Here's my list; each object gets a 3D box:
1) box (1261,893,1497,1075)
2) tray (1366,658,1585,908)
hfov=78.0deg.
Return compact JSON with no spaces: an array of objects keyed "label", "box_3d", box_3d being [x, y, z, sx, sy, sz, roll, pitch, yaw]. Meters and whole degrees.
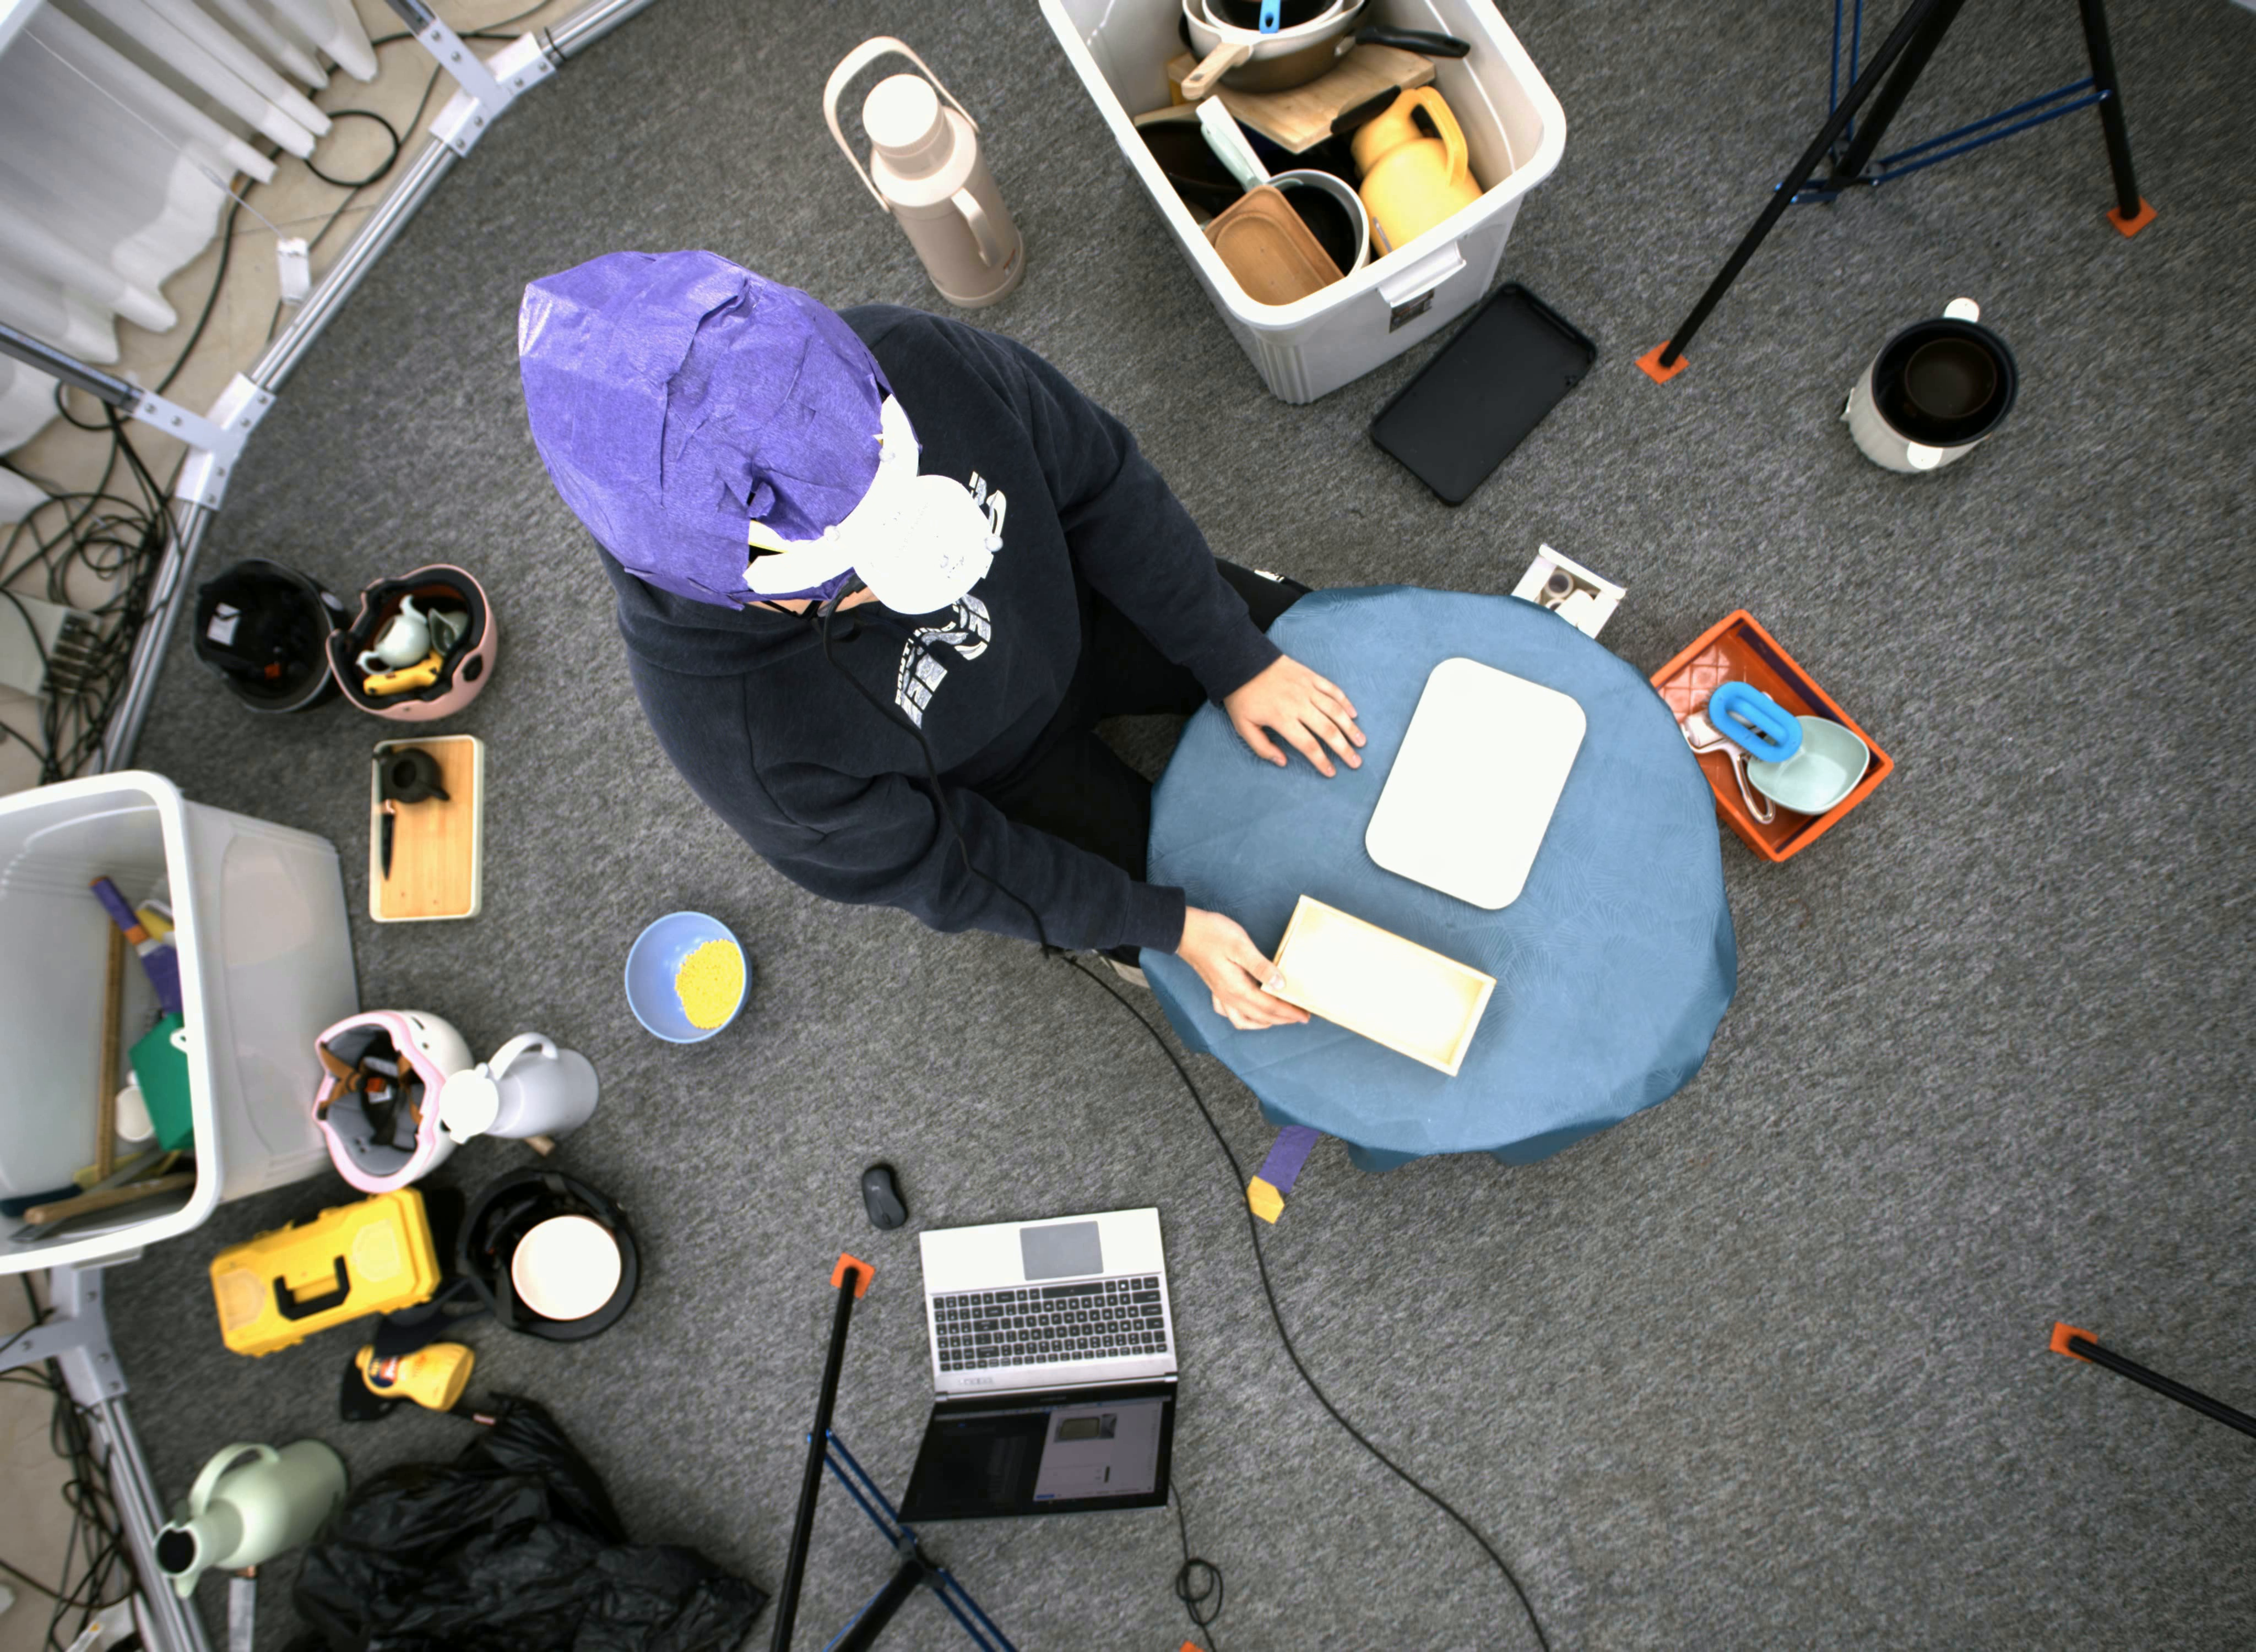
[{"label":"box","box_3d":[0.256,0.160,1.418,0.211,0.080,0.107,23,89,12]},{"label":"tray","box_3d":[0.364,-0.048,1.441,0.171,0.017,0.239,22,91,12]}]
